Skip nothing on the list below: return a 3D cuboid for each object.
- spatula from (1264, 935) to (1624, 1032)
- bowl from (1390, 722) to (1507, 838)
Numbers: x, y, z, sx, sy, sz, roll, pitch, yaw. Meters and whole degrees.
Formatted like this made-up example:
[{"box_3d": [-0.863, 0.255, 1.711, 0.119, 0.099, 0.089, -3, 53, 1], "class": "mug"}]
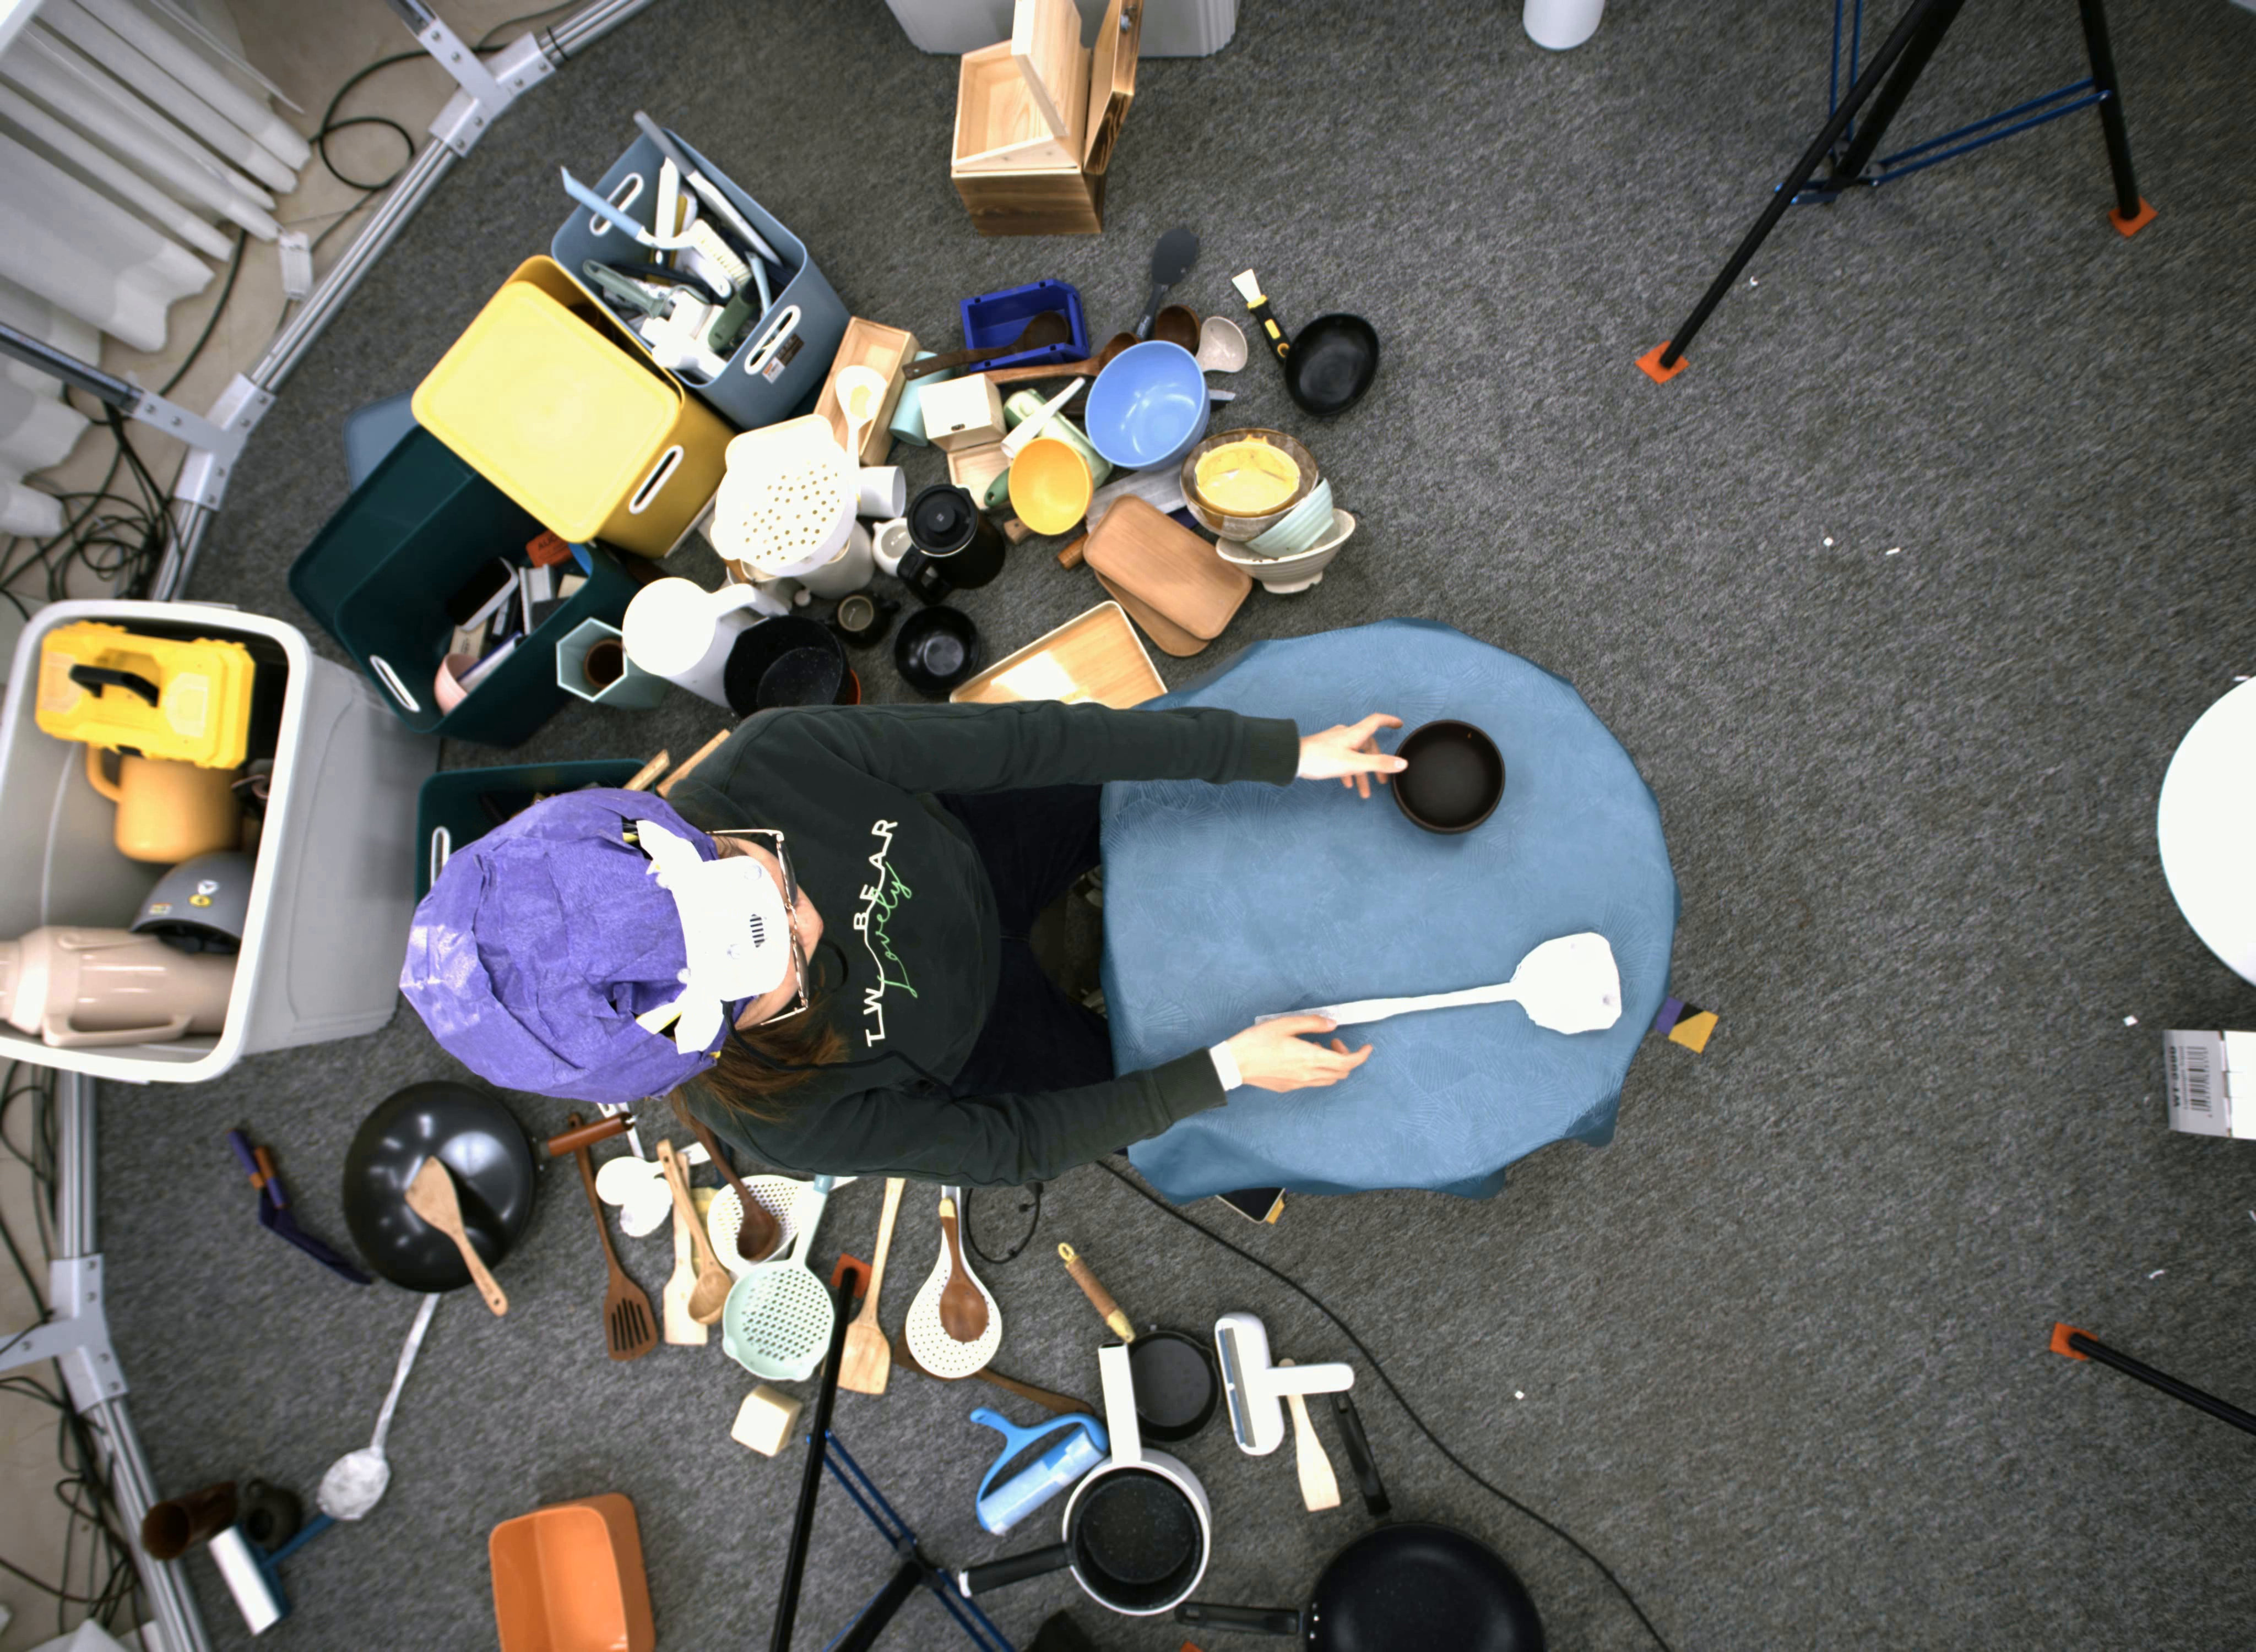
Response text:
[{"box_3d": [0.322, 0.178, 1.428, 0.366, 0.045, 0.098, -8, 86, 9], "class": "spatula"}, {"box_3d": [0.332, -0.046, 1.426, 0.118, 0.070, 0.117, -1, 85, 12], "class": "bowl"}]
